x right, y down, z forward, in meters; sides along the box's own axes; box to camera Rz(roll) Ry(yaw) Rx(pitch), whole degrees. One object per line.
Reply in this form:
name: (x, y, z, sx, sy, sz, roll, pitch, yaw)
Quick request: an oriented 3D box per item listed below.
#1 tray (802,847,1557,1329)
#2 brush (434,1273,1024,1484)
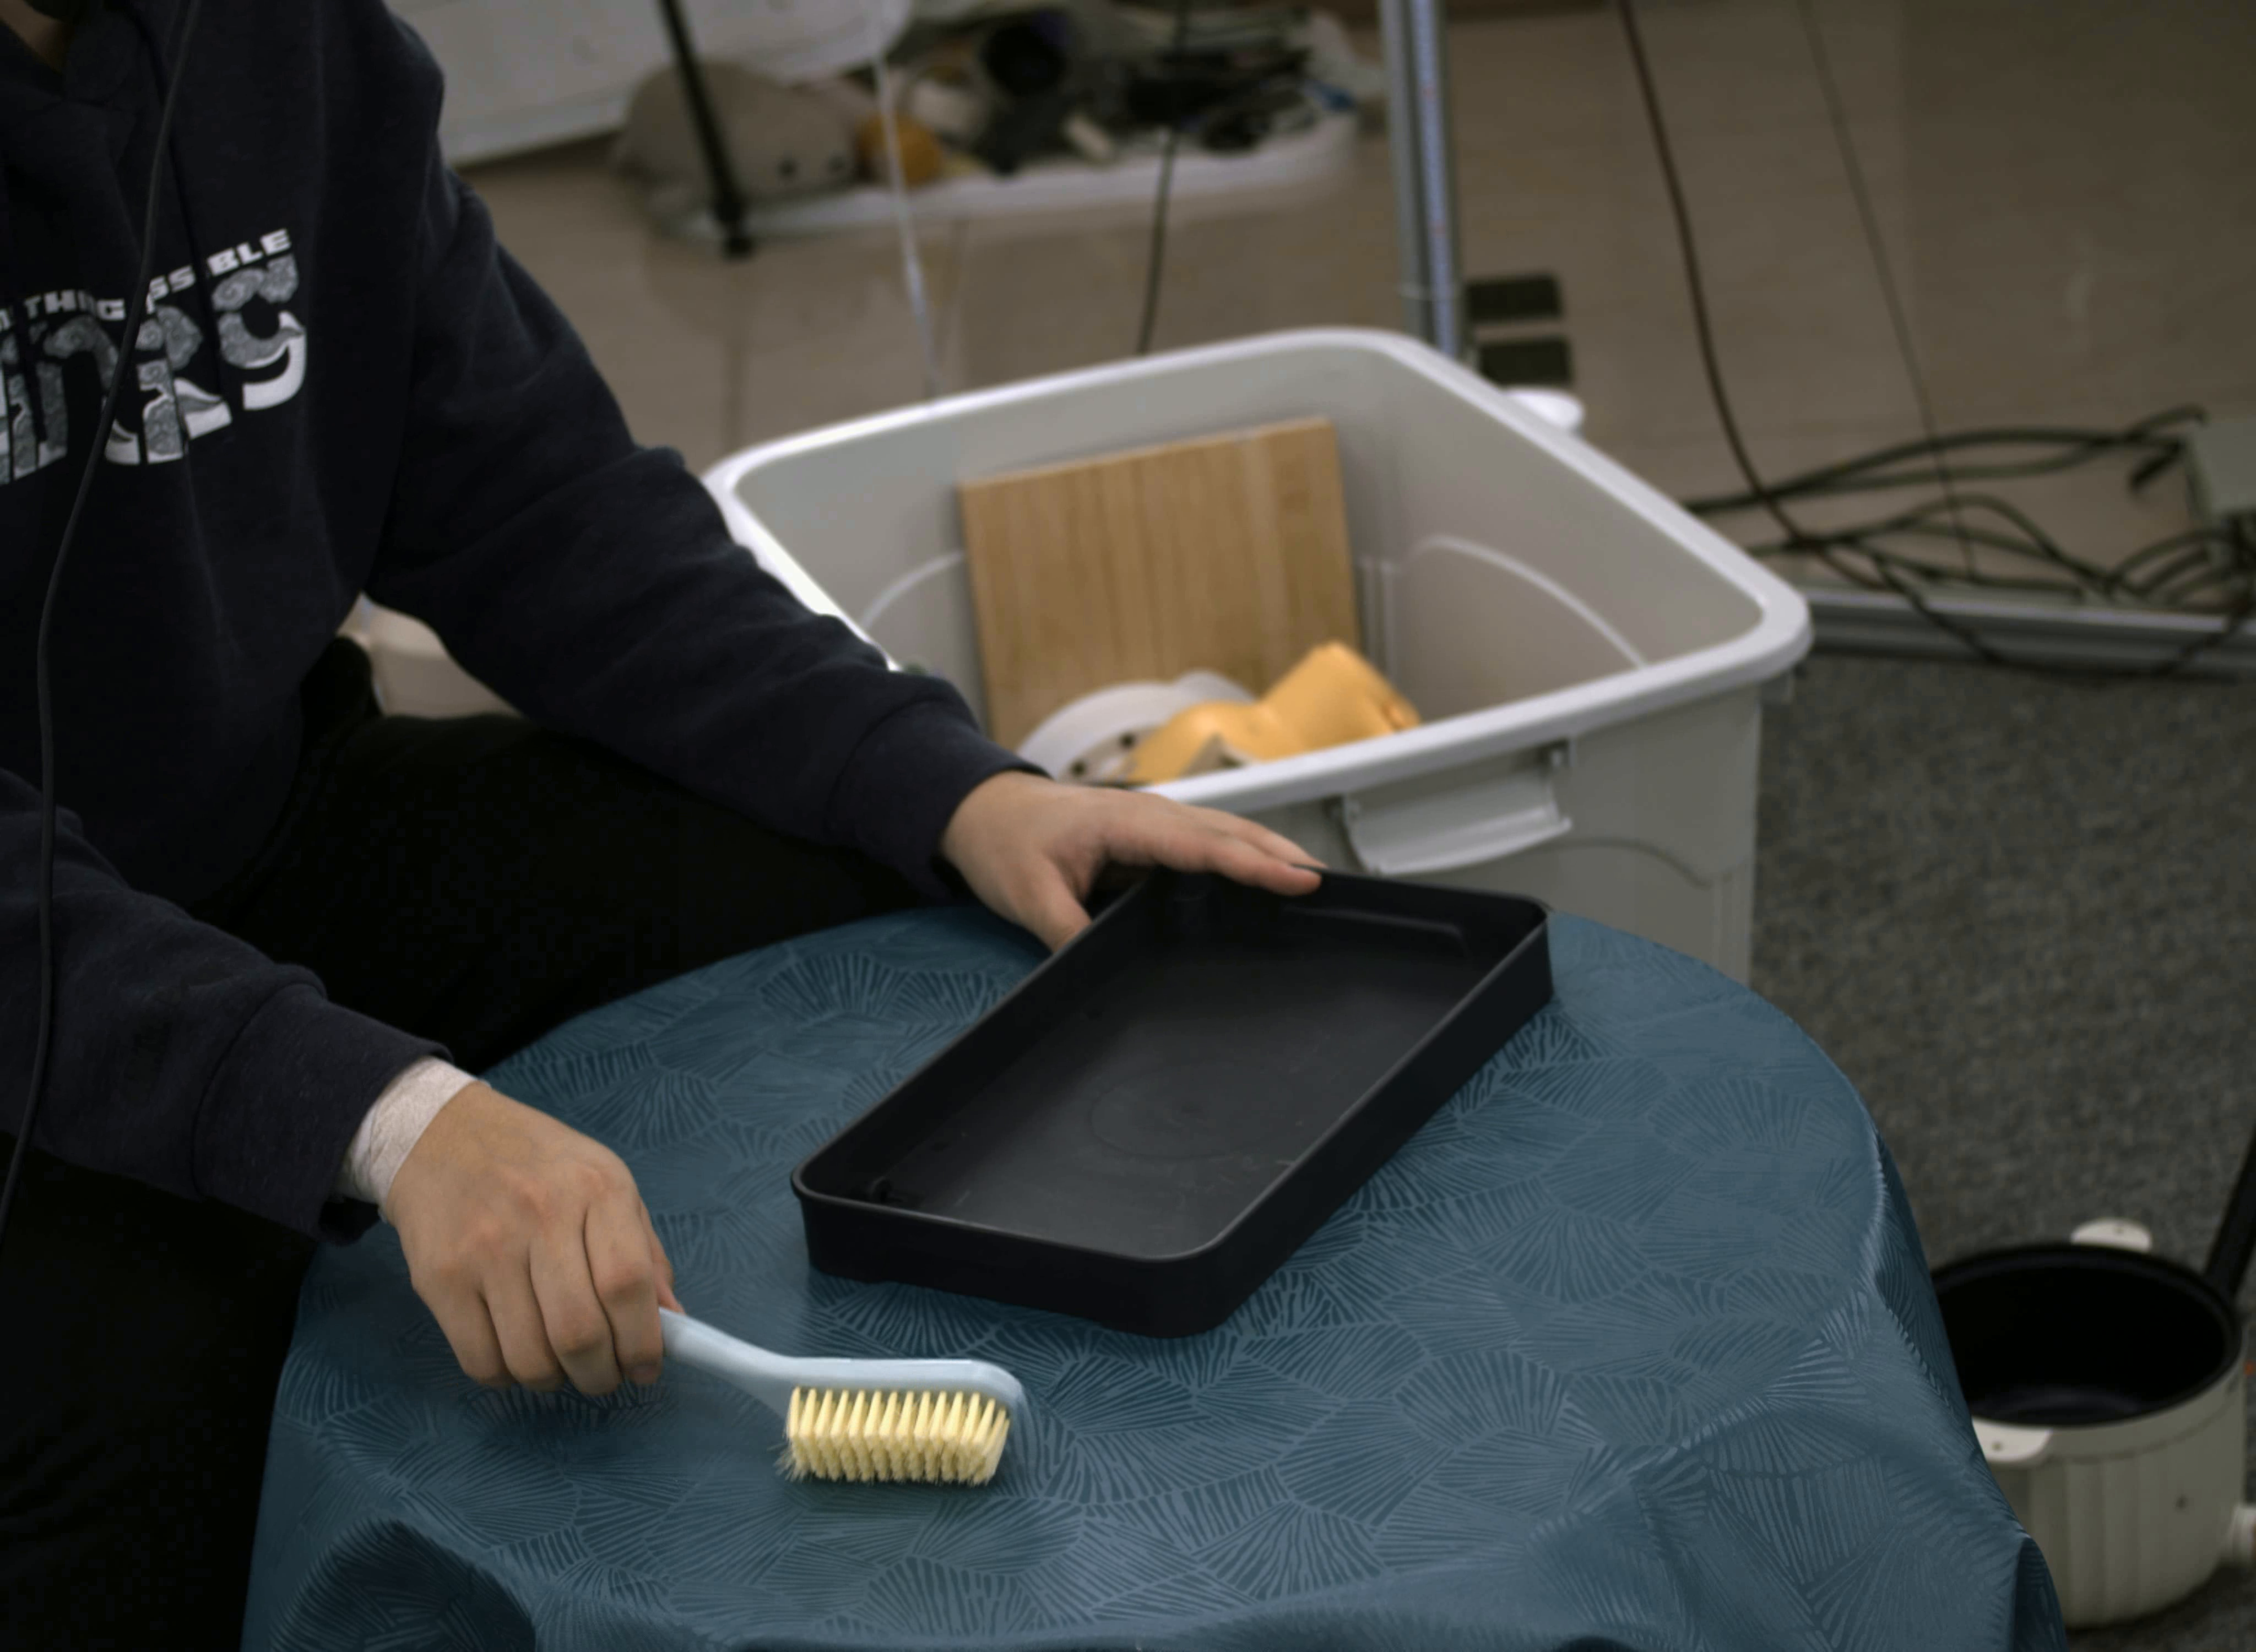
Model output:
tray: (0.027, 0.095, 2.194, 0.183, 0.037, 0.314, 7, 28, 28)
brush: (-0.147, 0.194, 1.999, 0.228, 0.038, 0.049, 11, 52, 22)
